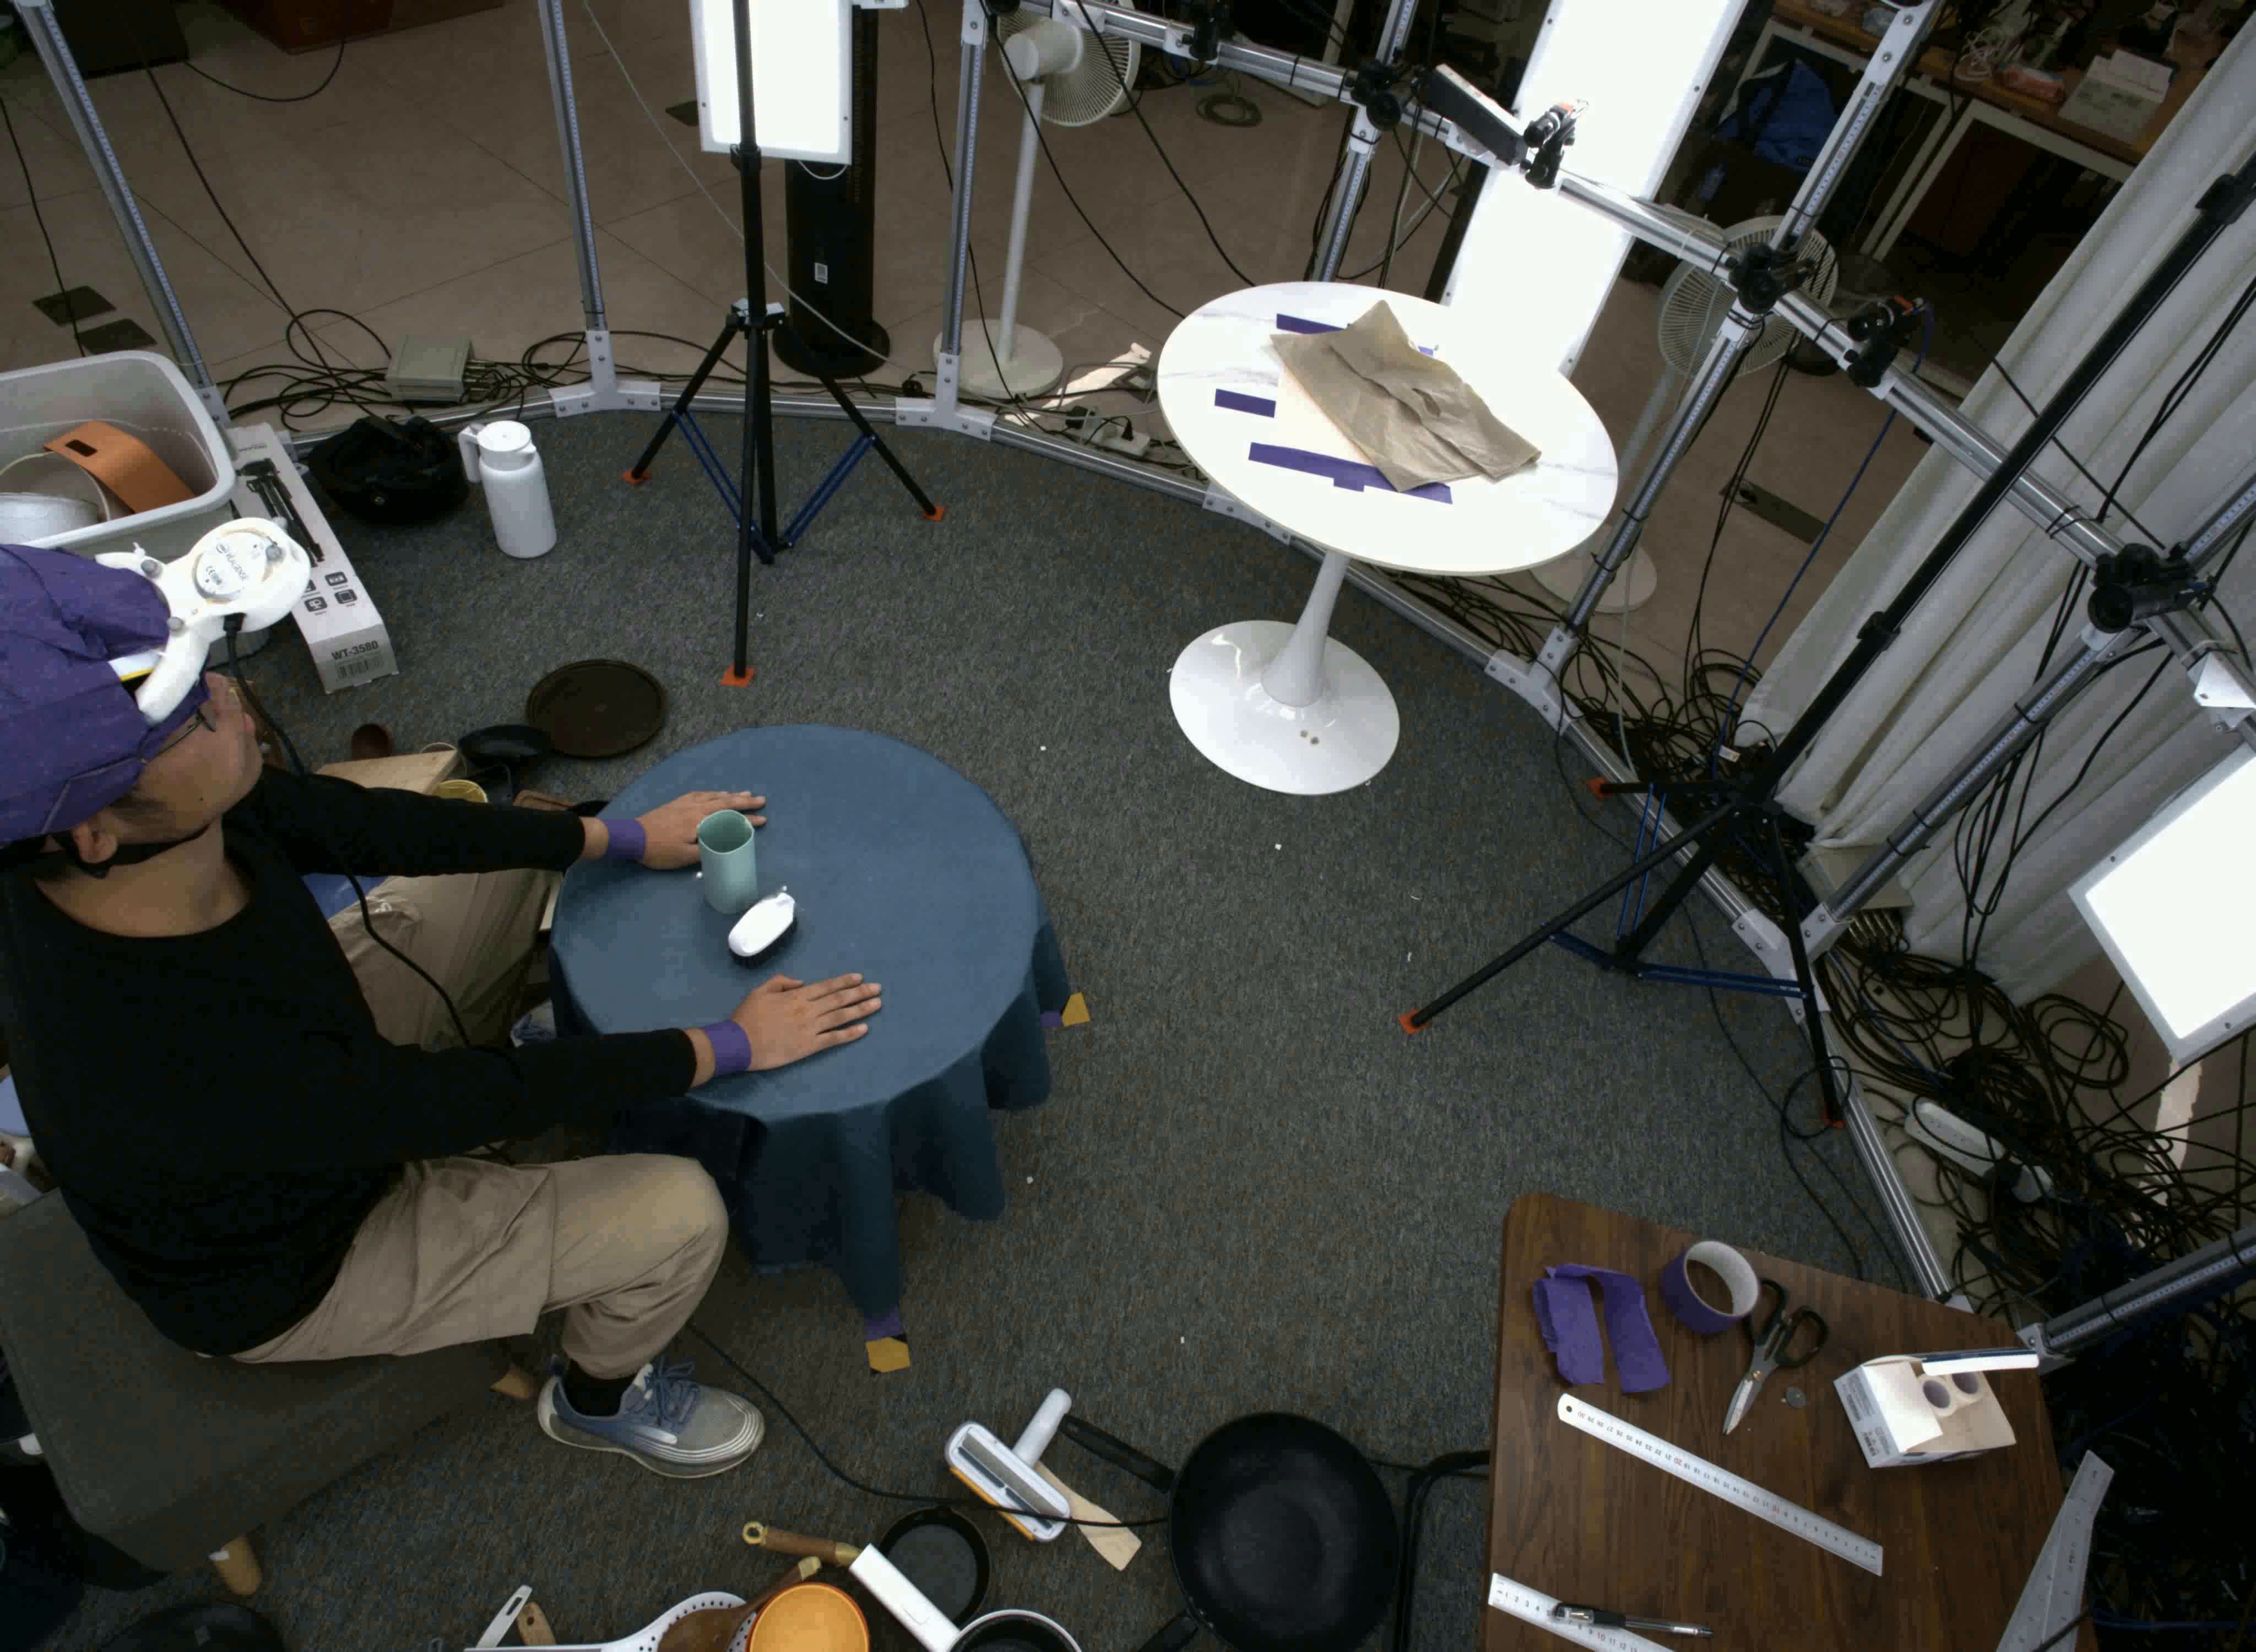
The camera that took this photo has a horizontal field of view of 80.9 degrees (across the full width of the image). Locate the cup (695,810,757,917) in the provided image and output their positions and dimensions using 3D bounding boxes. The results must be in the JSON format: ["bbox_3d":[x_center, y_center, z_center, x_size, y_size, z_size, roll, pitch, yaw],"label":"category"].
[{"bbox_3d":[-0.494,0.047,1.596,0.066,0.135,0.065,7,51,-7],"label":"cup"}]

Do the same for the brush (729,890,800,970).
[{"bbox_3d":[-0.446,0.118,1.586,0.049,0.074,0.099,32,51,15],"label":"brush"}]
